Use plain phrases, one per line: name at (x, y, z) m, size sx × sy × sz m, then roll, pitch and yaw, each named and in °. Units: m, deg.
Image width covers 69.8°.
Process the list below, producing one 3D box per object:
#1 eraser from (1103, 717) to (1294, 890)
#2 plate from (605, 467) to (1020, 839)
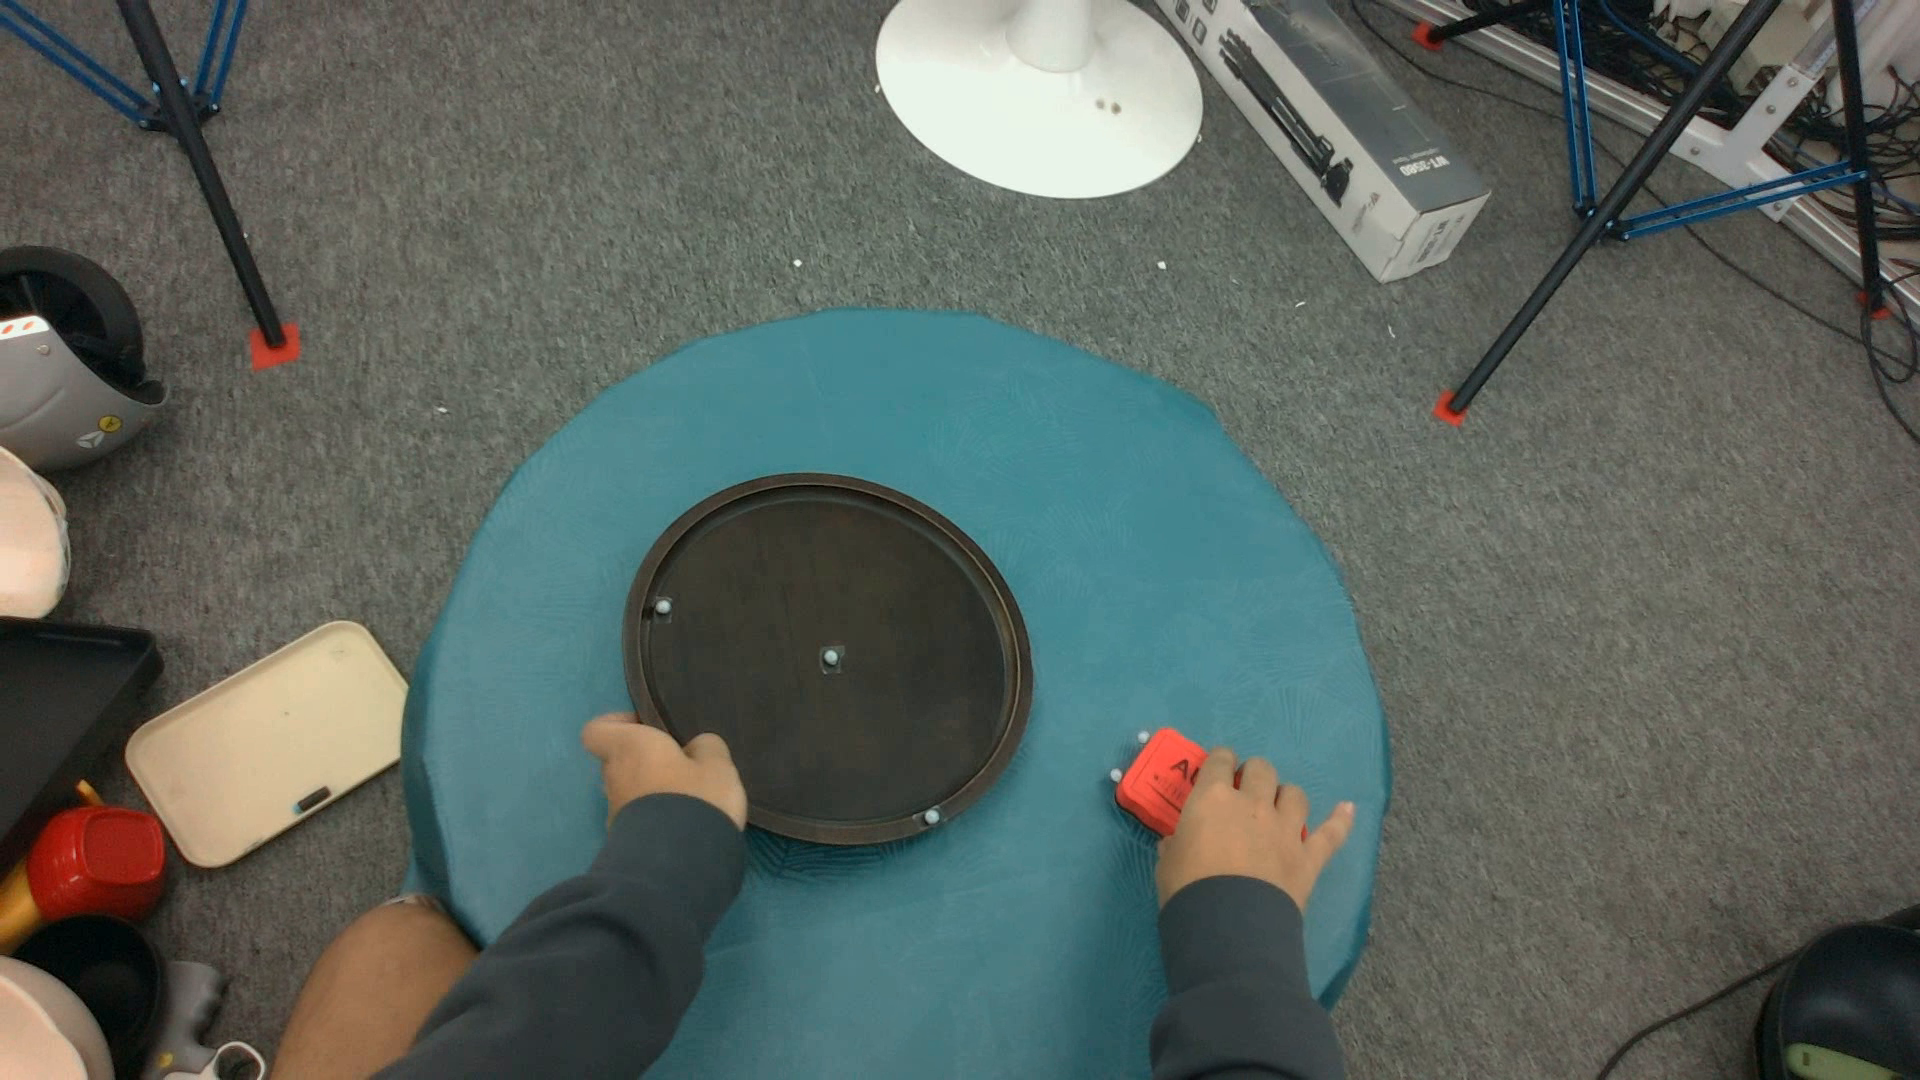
eraser at (0.144, 0.158, 0.833) m, size 0.108 × 0.023 × 0.059 m, roll 35°, pitch 54°, yaw 10°
plate at (-0.085, 0.062, 0.832) m, size 0.255 × 0.029 × 0.256 m, roll 11°, pitch 54°, yaw -16°
